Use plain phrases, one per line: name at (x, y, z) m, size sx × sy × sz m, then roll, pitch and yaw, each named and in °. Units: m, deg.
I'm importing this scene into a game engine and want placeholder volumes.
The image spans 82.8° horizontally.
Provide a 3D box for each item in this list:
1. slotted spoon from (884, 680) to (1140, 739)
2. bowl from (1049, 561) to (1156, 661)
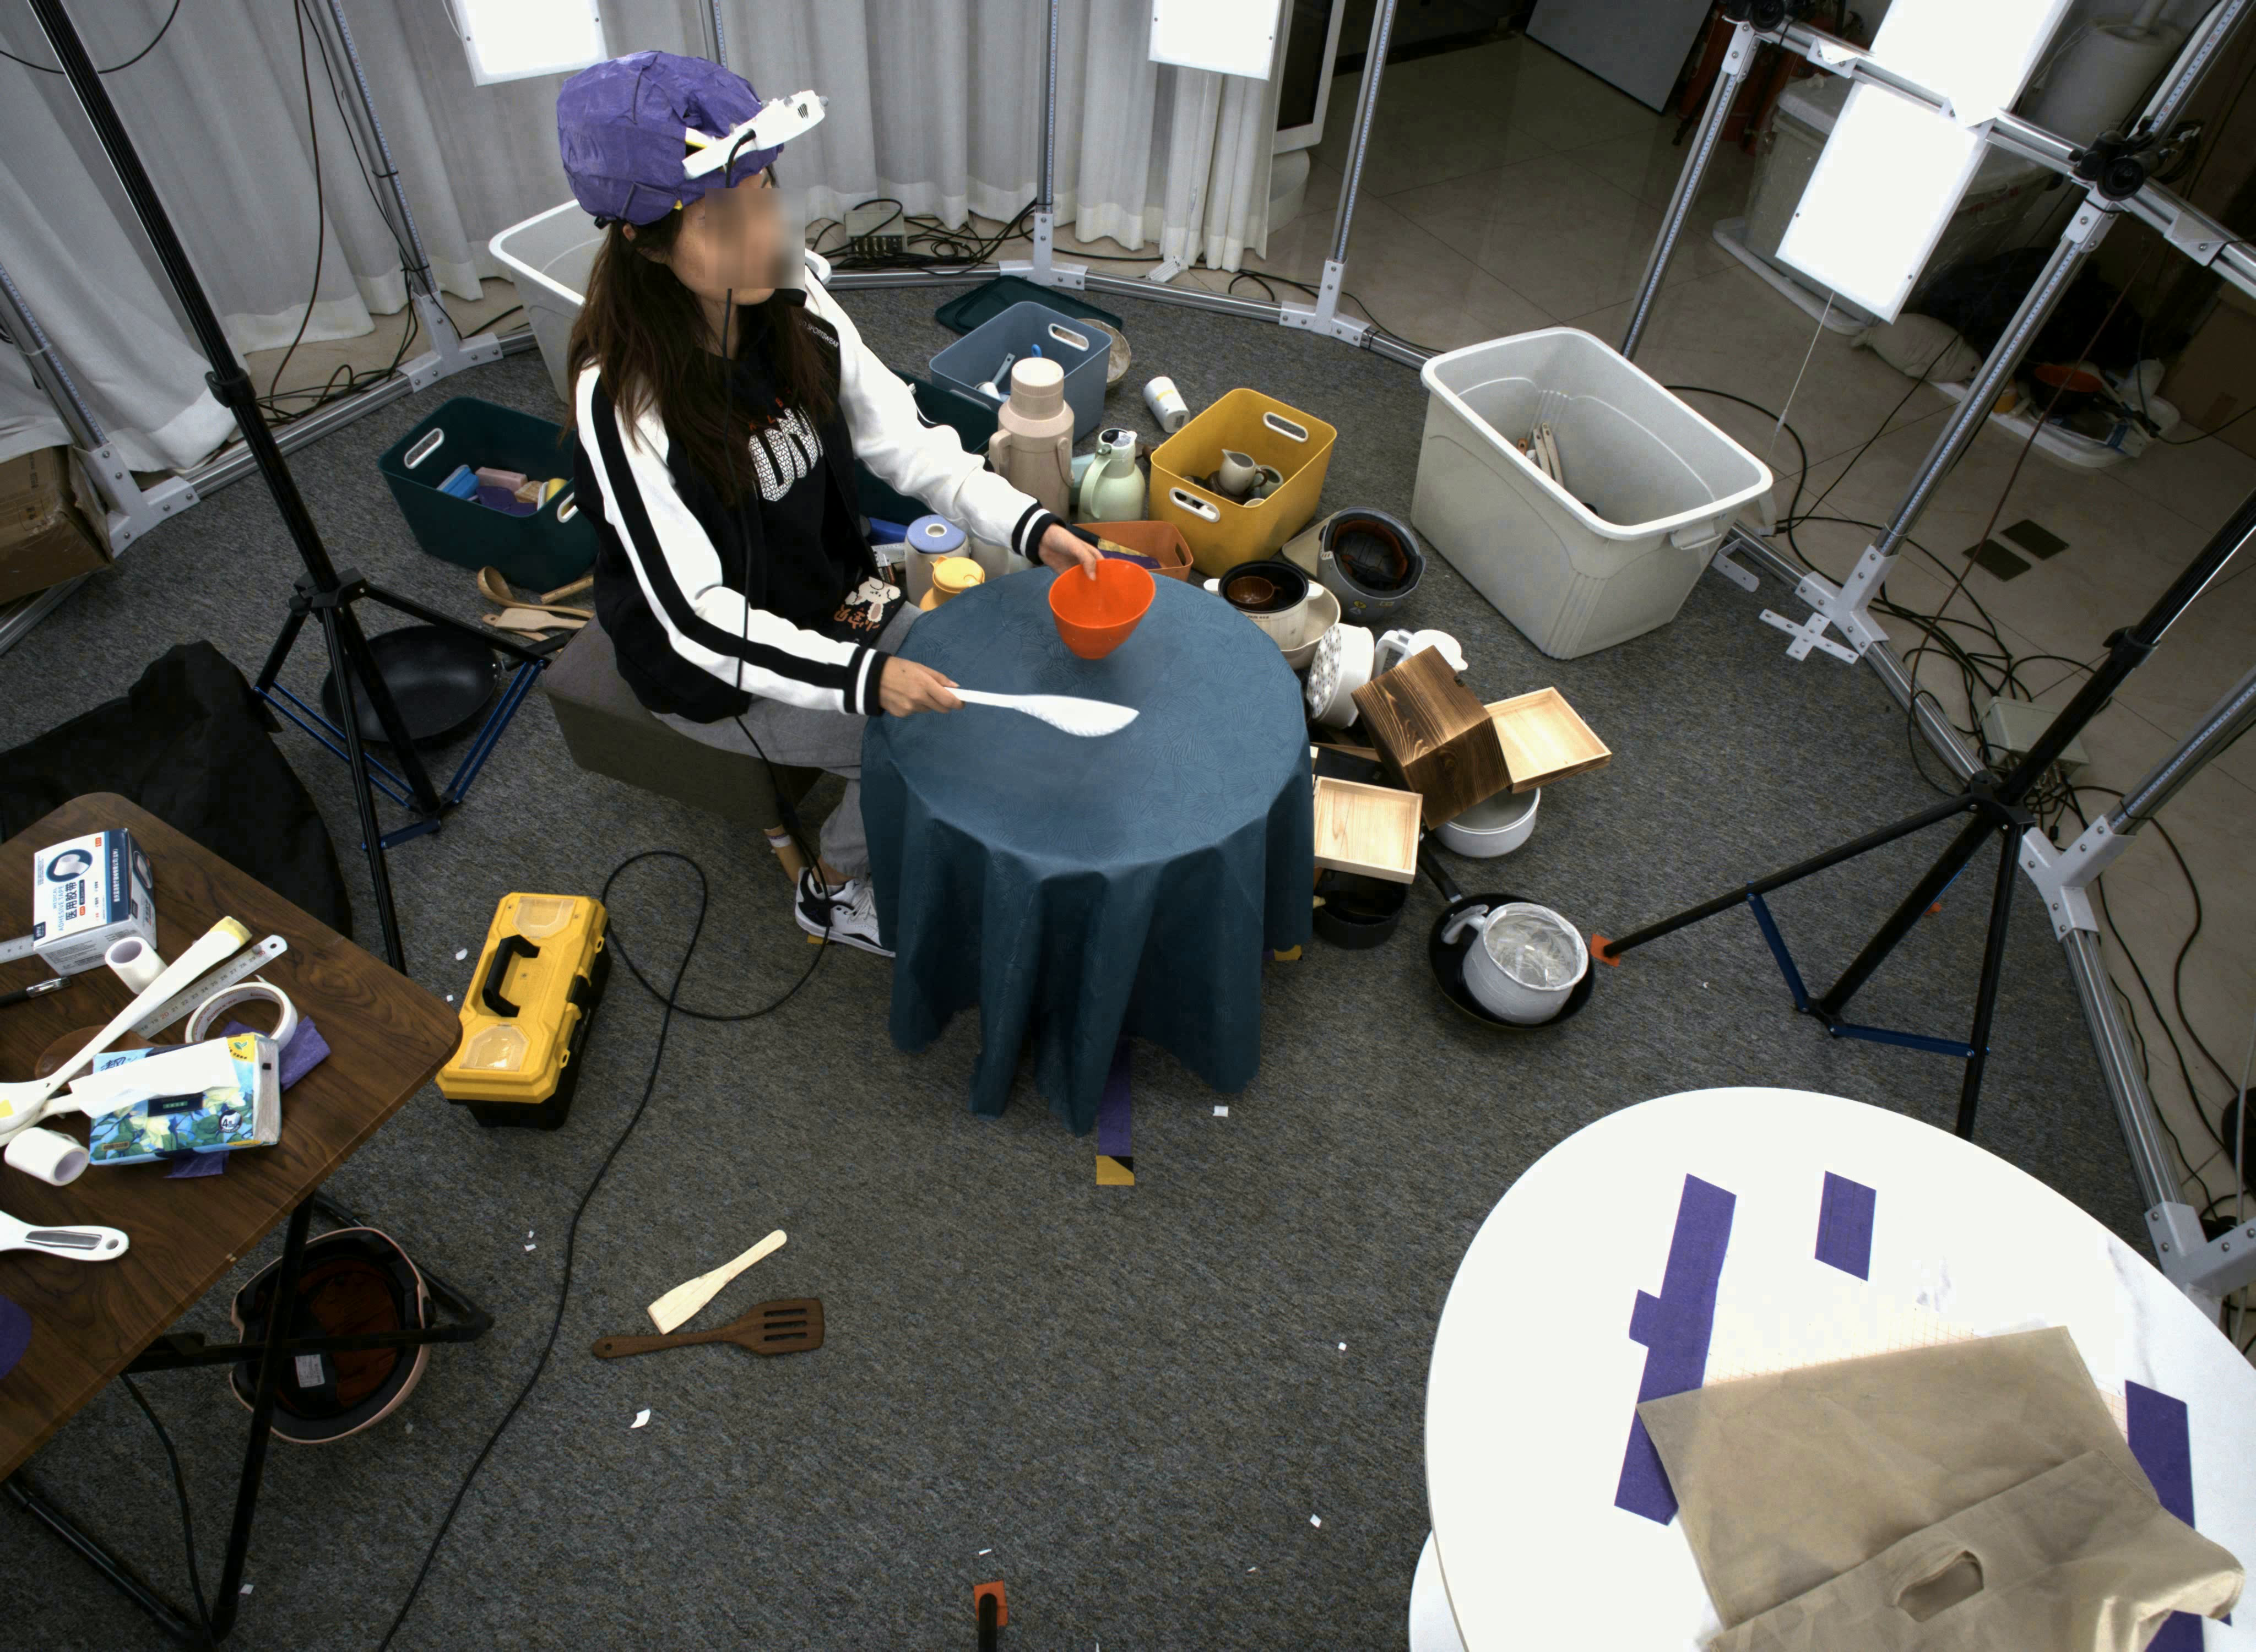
slotted spoon at (-0.154, -0.159, 1.646) m, size 0.352 × 0.045 × 0.135 m, roll 14°, pitch 4°, yaw 19°
bowl at (-0.039, -0.294, 1.817) m, size 0.148 × 0.102 × 0.152 m, roll 3°, pitch 47°, yaw -3°
